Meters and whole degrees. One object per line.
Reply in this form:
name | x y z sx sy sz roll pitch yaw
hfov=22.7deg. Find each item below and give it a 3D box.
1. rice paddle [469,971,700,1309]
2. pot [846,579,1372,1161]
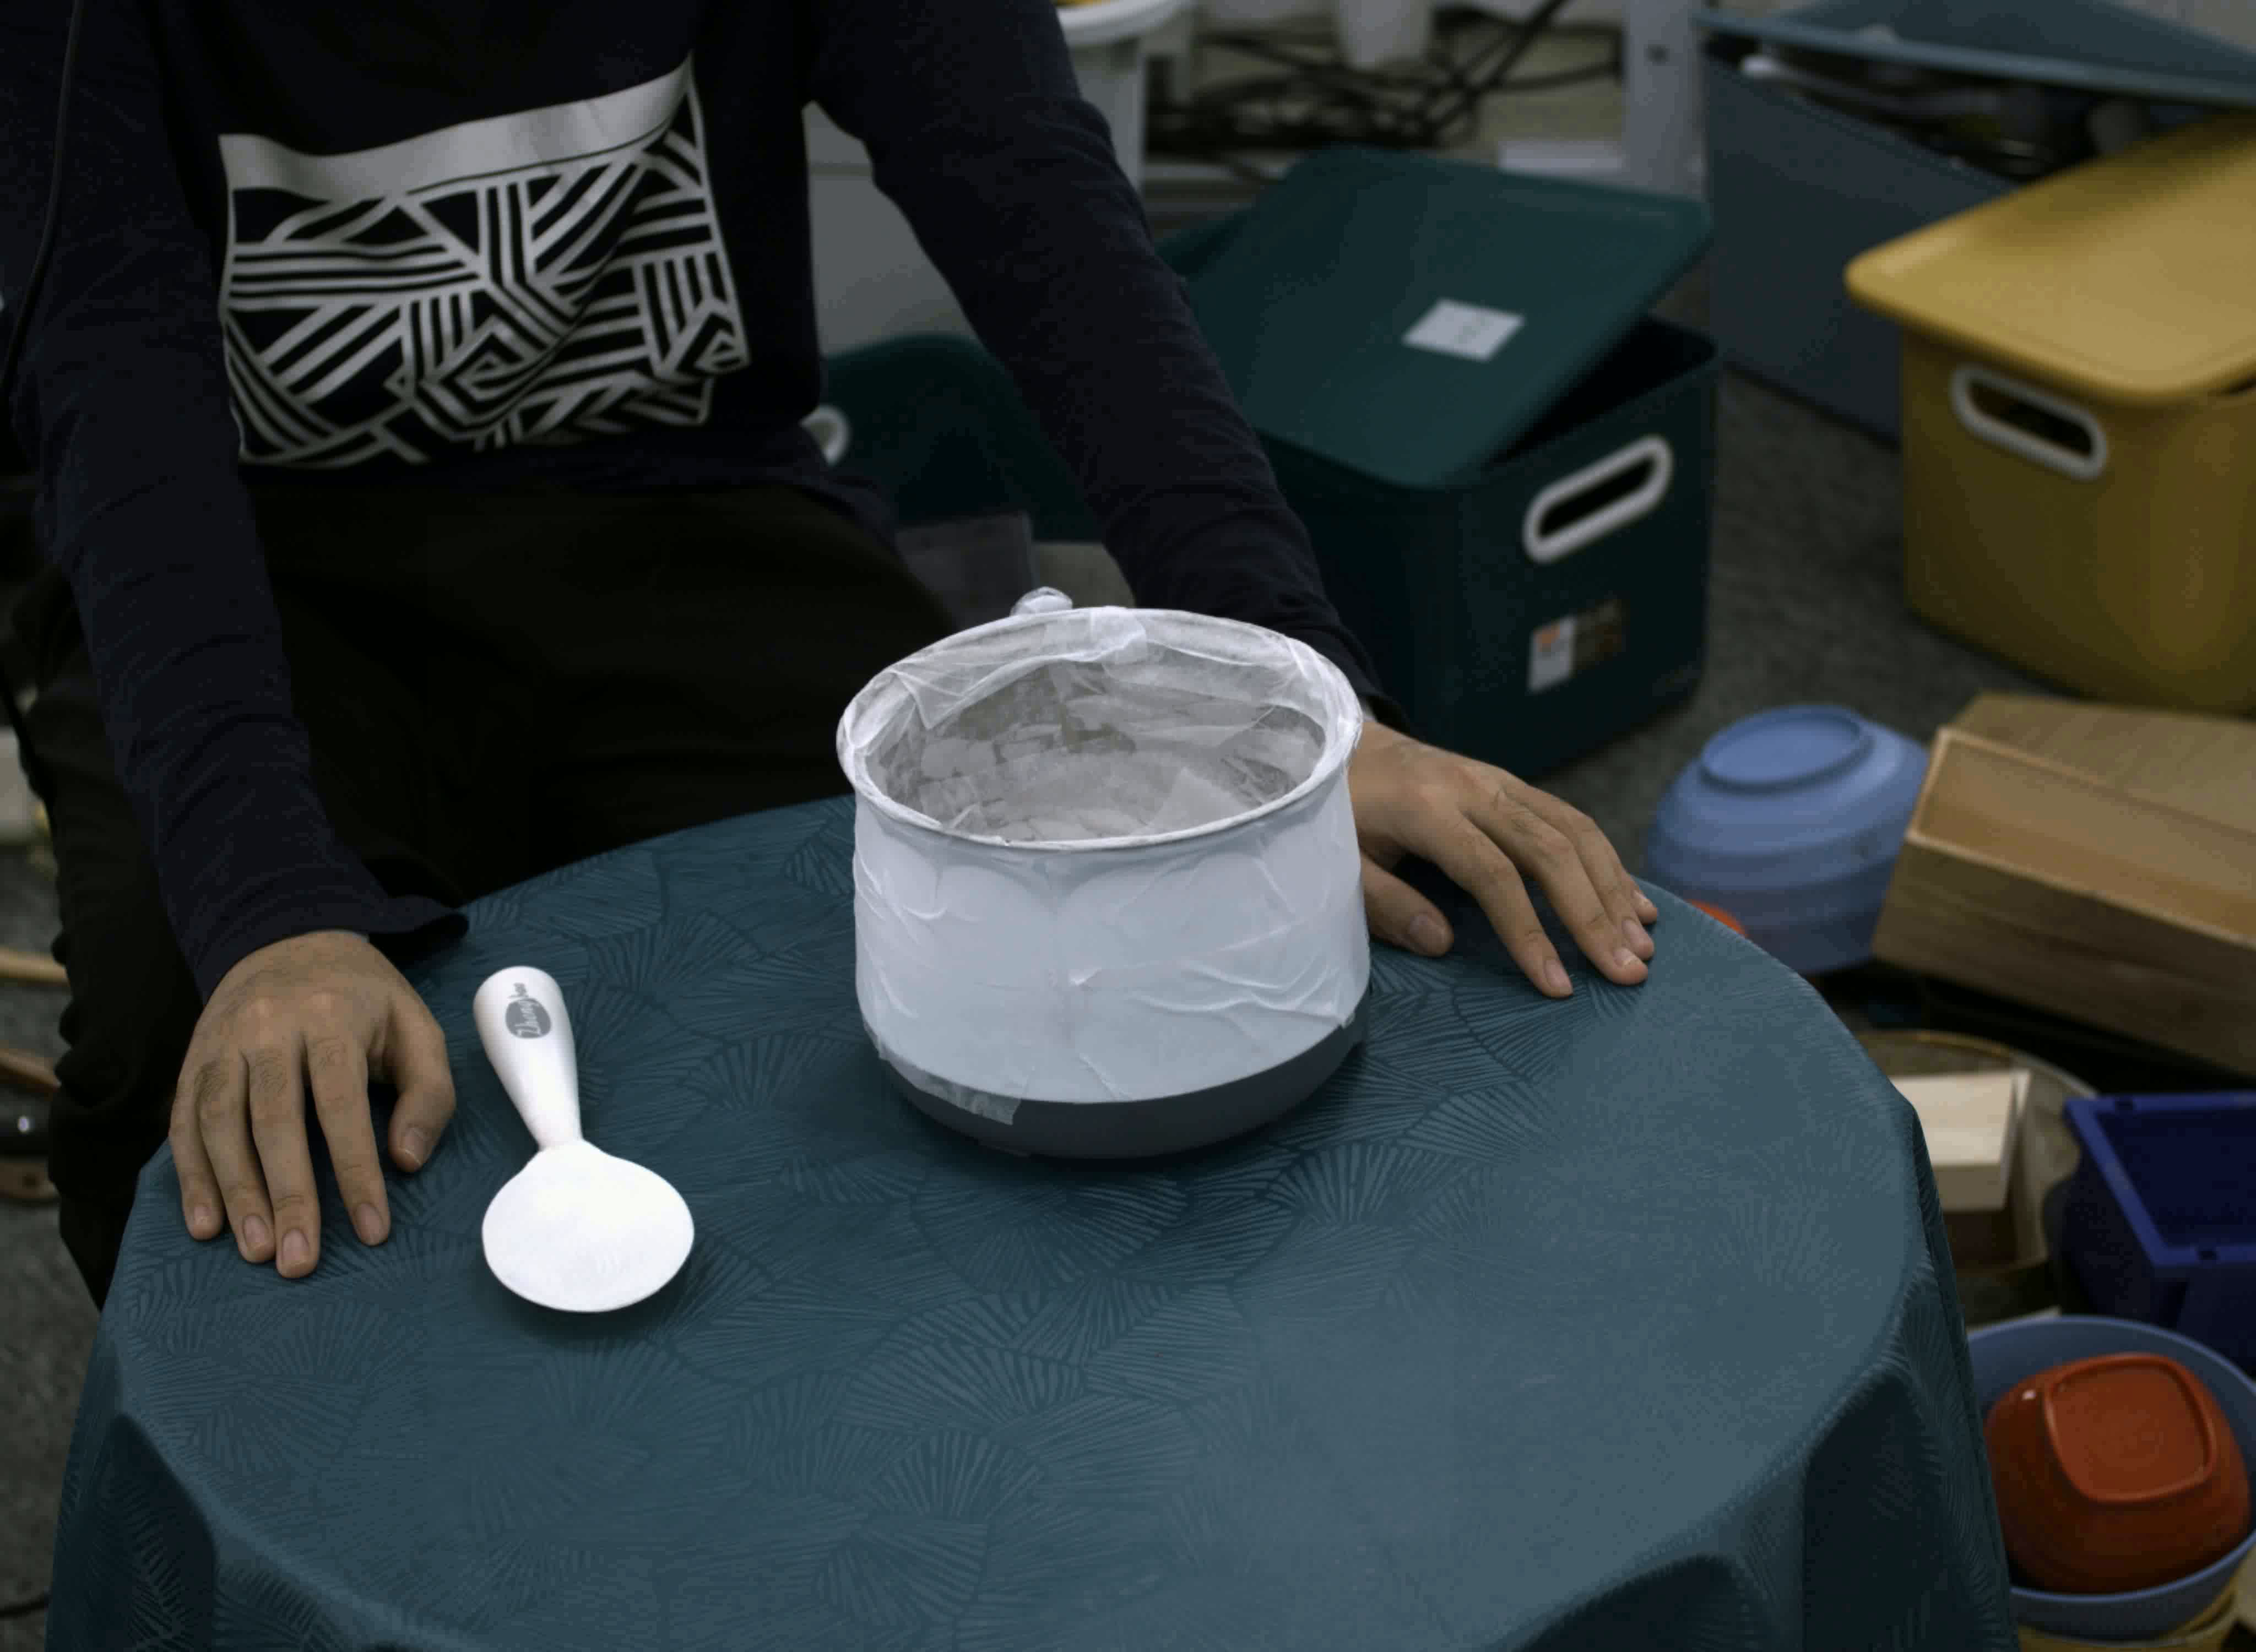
rice paddle | -0.189 0.107 1.877 0.069 0.029 0.207 -11 27 -11
pot | -0.012 0.008 1.933 0.178 0.135 0.236 -6 28 -12
